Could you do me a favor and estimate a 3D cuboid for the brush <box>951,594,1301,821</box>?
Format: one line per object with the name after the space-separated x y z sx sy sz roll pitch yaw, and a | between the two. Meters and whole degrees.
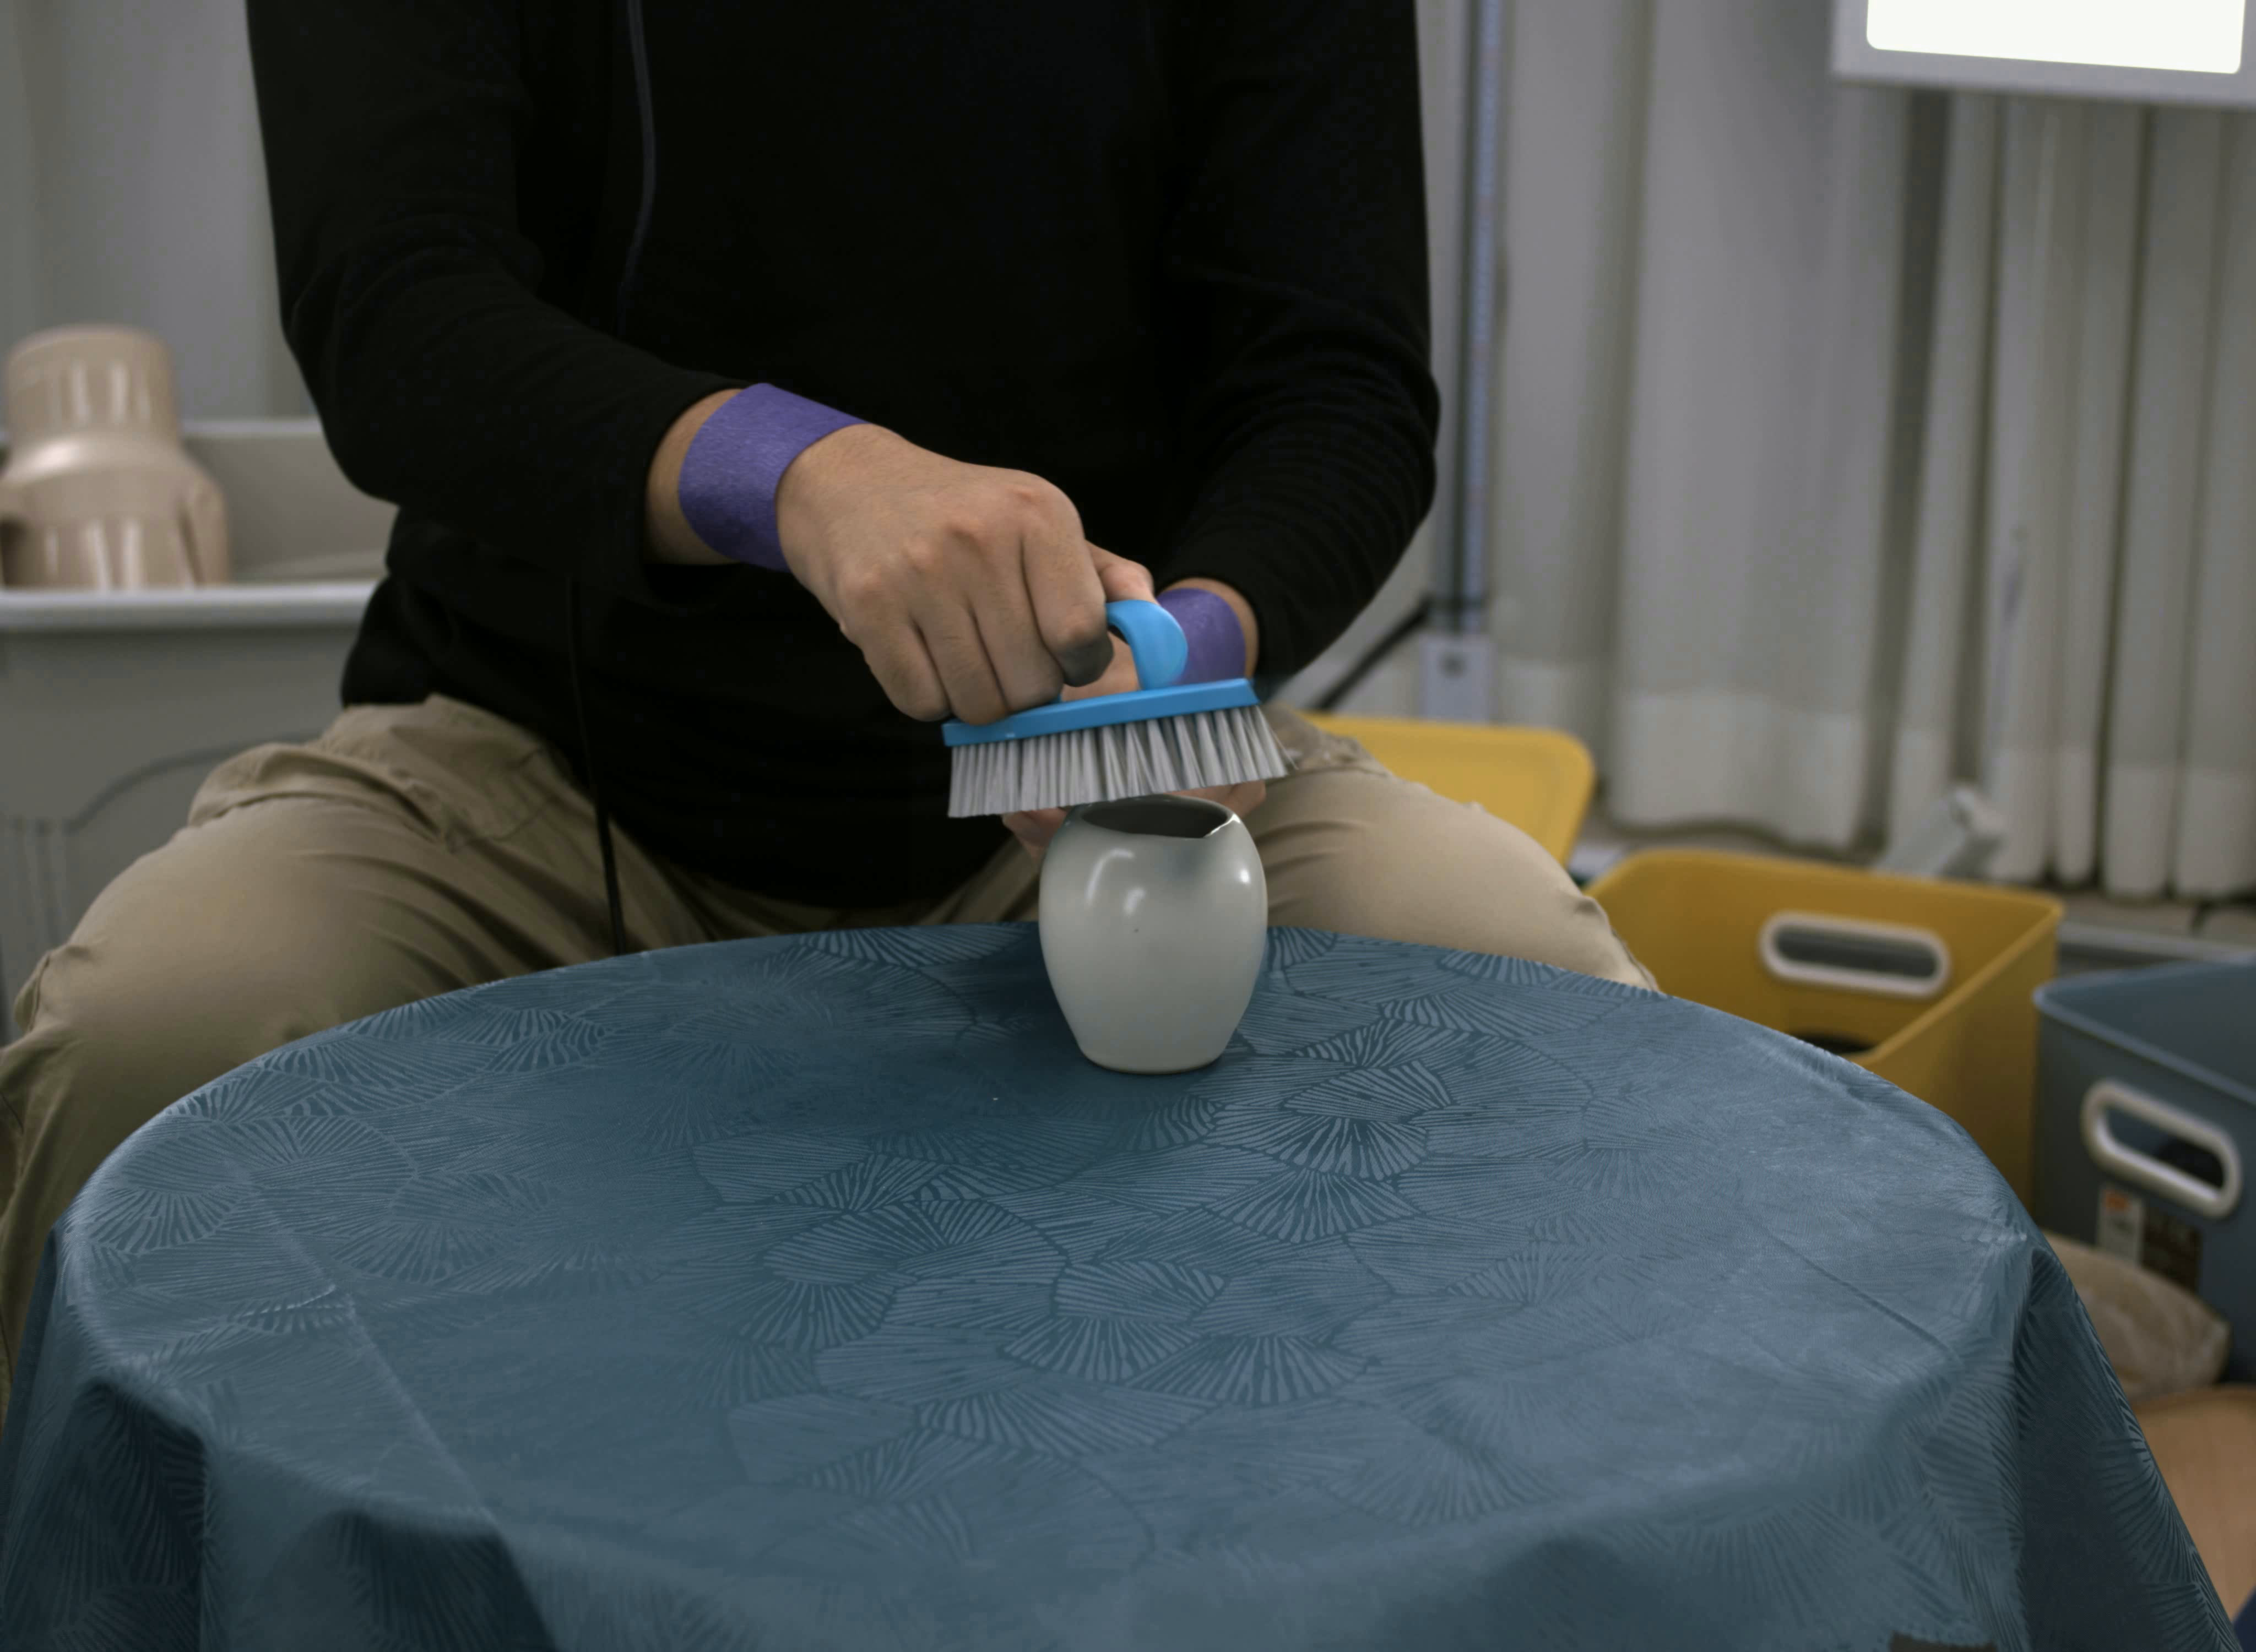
-0.006 -0.042 1.719 0.084 0.064 0.140 -14 3 -30 | brush

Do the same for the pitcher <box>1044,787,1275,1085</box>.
0.008 0.034 1.740 0.076 0.088 0.118 3 18 -12 | pitcher
